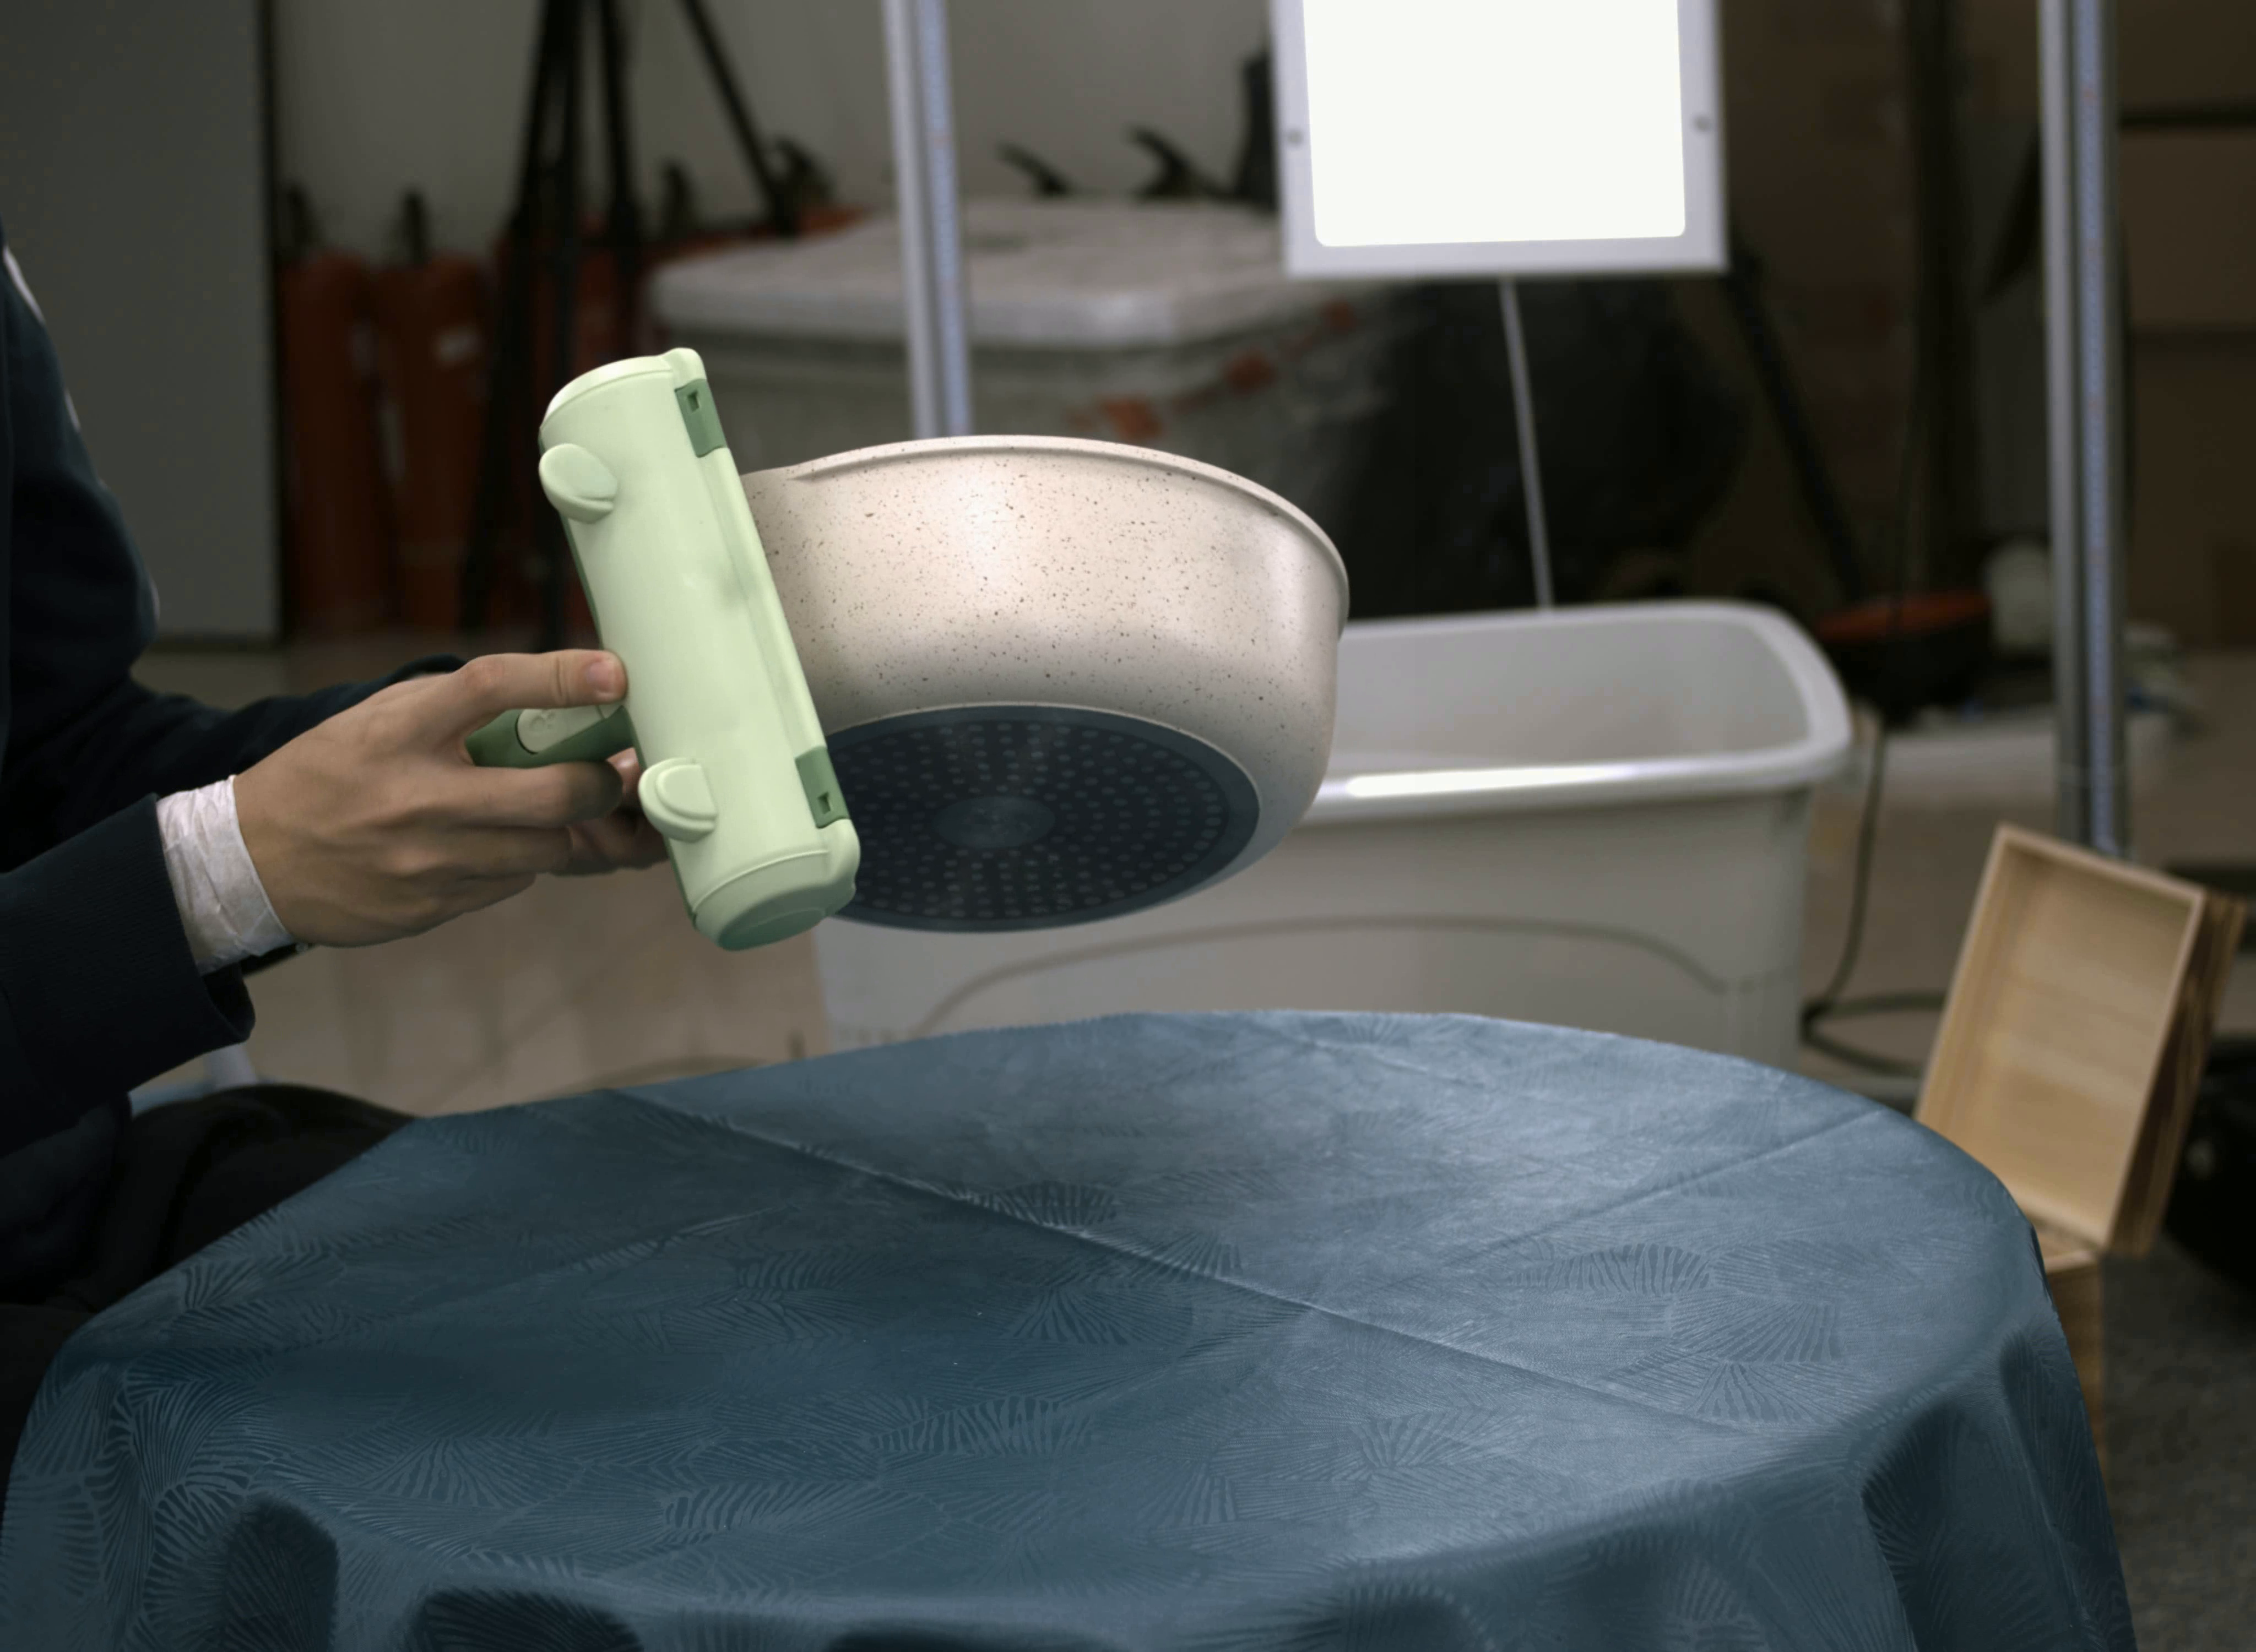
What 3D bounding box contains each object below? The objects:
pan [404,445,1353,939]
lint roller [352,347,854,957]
[{"bbox_3d":[-0.109,-0.013,1.946,0.257,0.102,0.444,18,-31,-41],"label":"pan"},{"bbox_3d":[-0.190,-0.034,1.781,0.186,0.199,0.081,-26,-22,19],"label":"lint roller"}]
